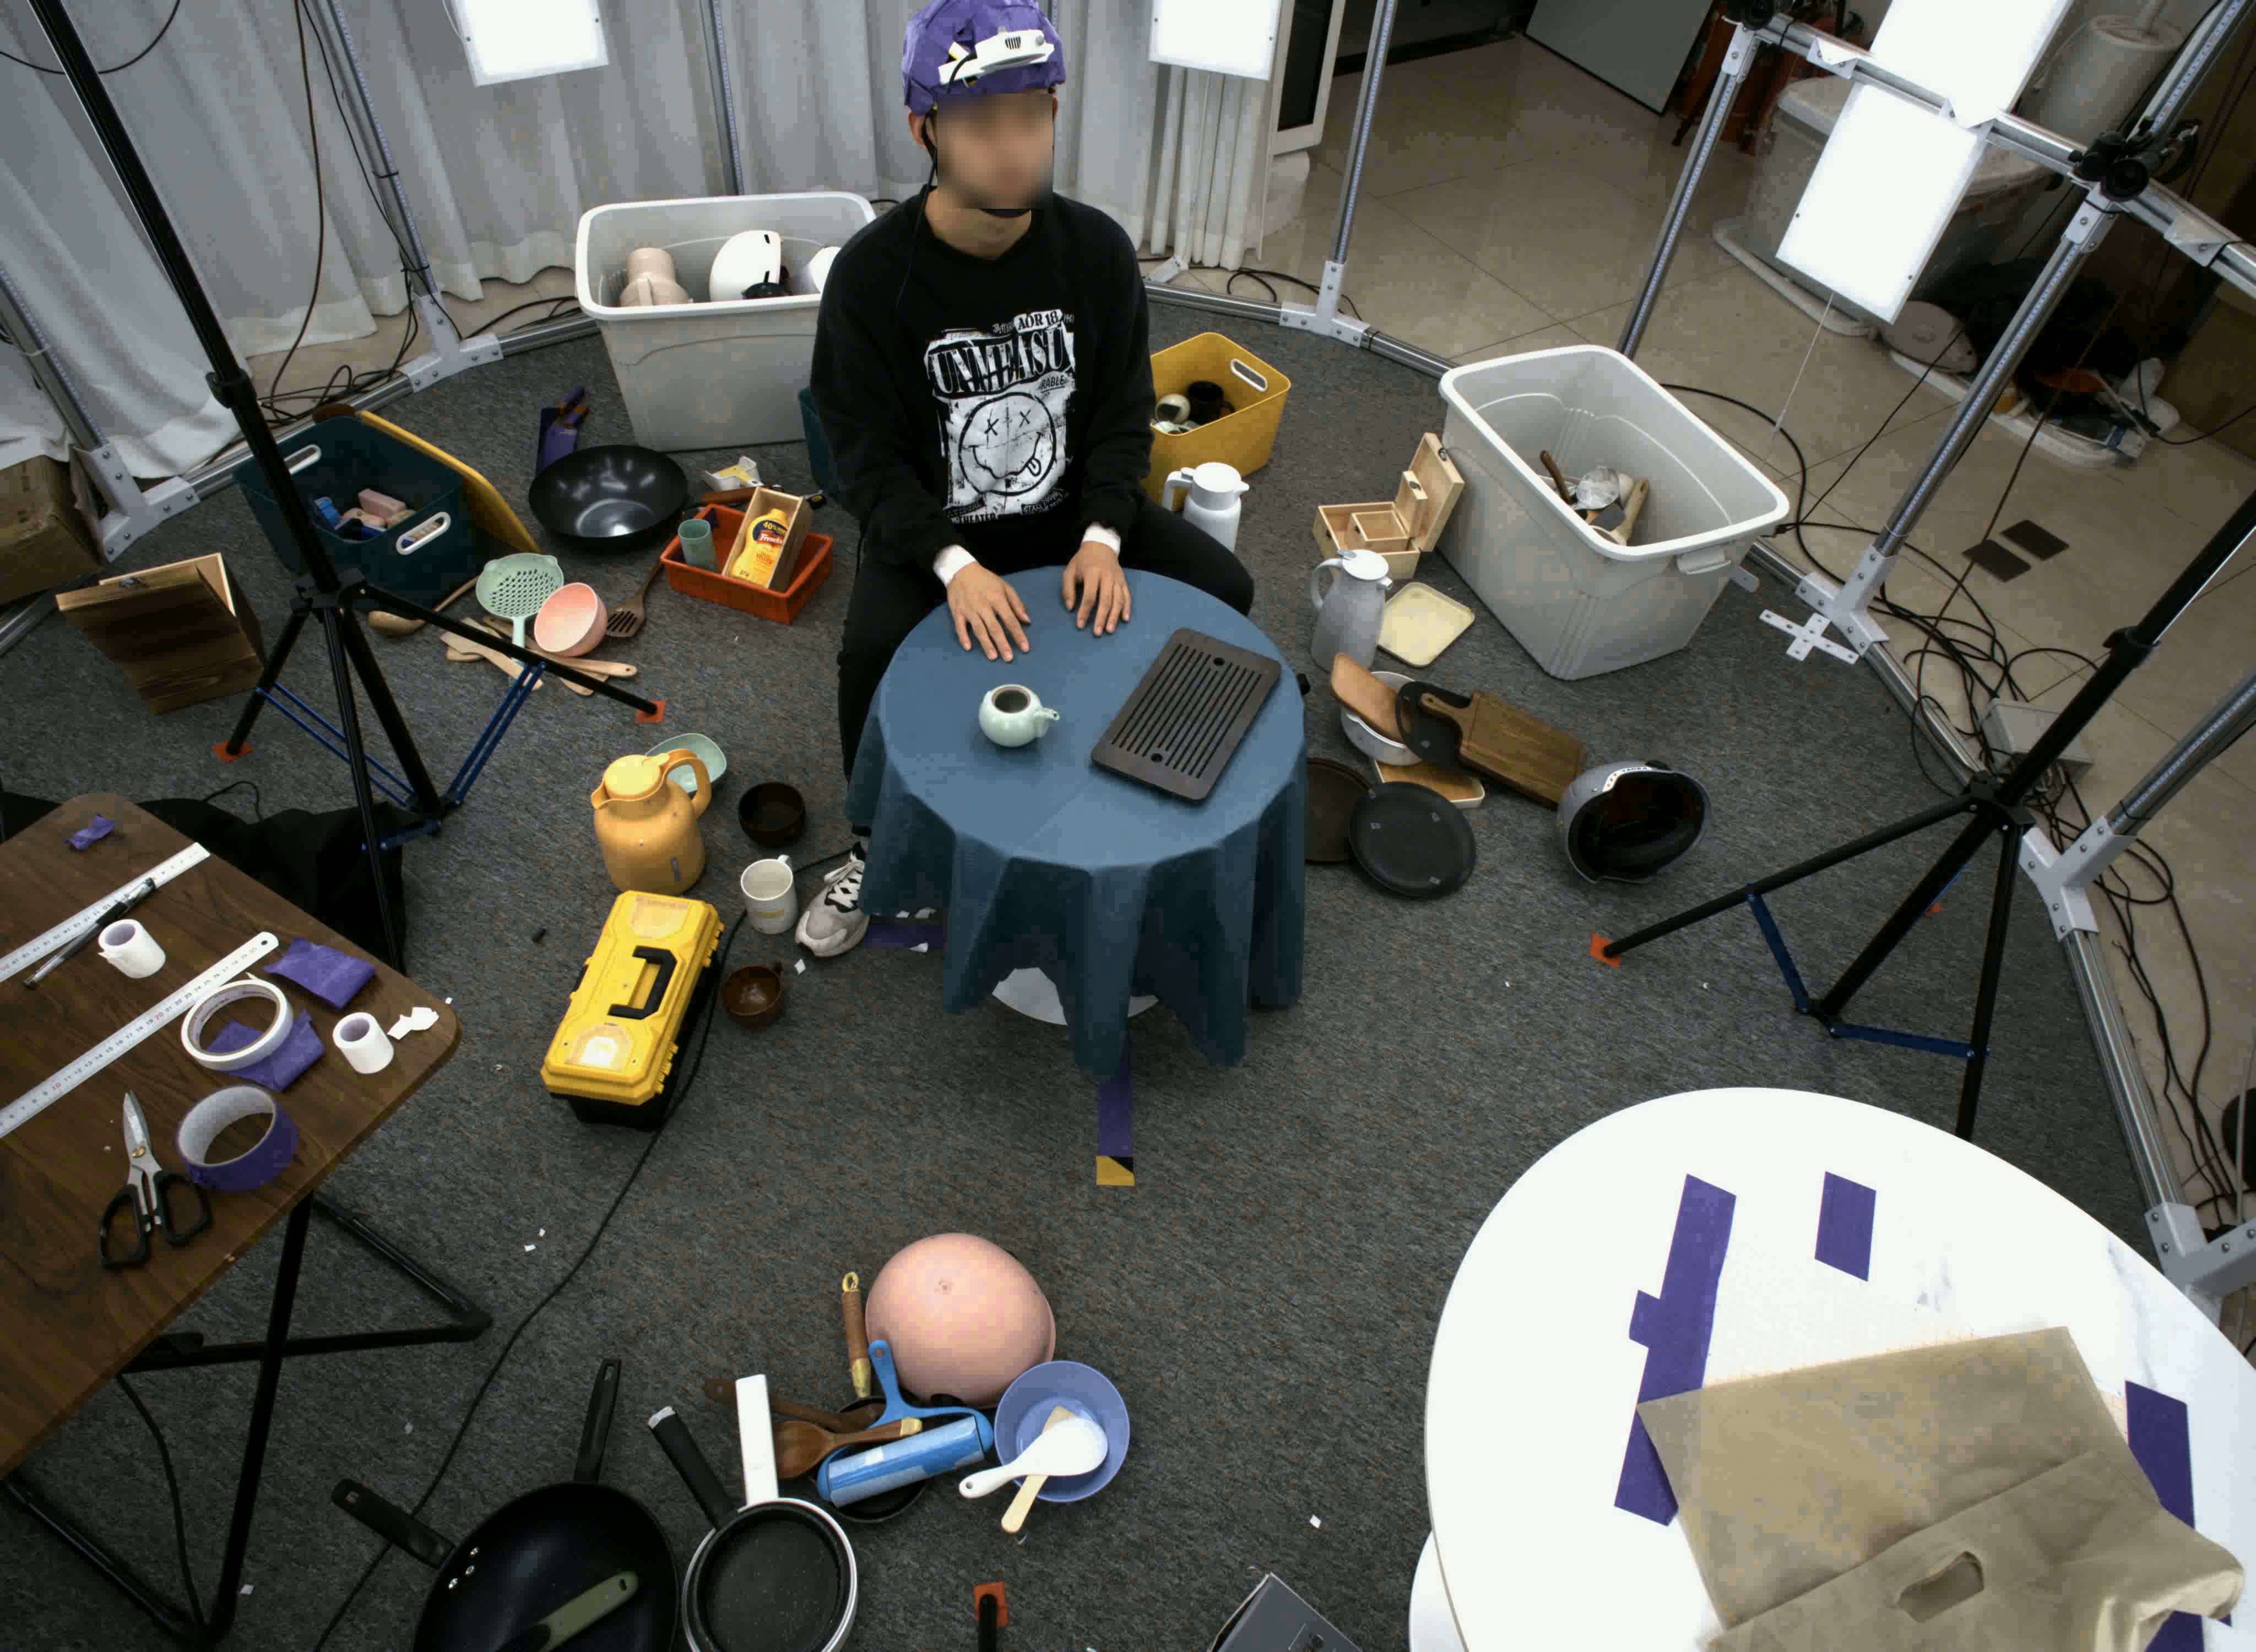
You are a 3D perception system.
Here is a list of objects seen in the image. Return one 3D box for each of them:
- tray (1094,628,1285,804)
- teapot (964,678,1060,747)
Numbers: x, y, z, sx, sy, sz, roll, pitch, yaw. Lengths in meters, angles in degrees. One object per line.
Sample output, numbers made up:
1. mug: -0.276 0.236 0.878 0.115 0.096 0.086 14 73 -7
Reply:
1. tray: 0.091 -0.159 1.801 0.171 0.018 0.311 22 51 15
2. teapot: -0.157 -0.151 1.744 0.145 0.073 0.090 24 52 15
